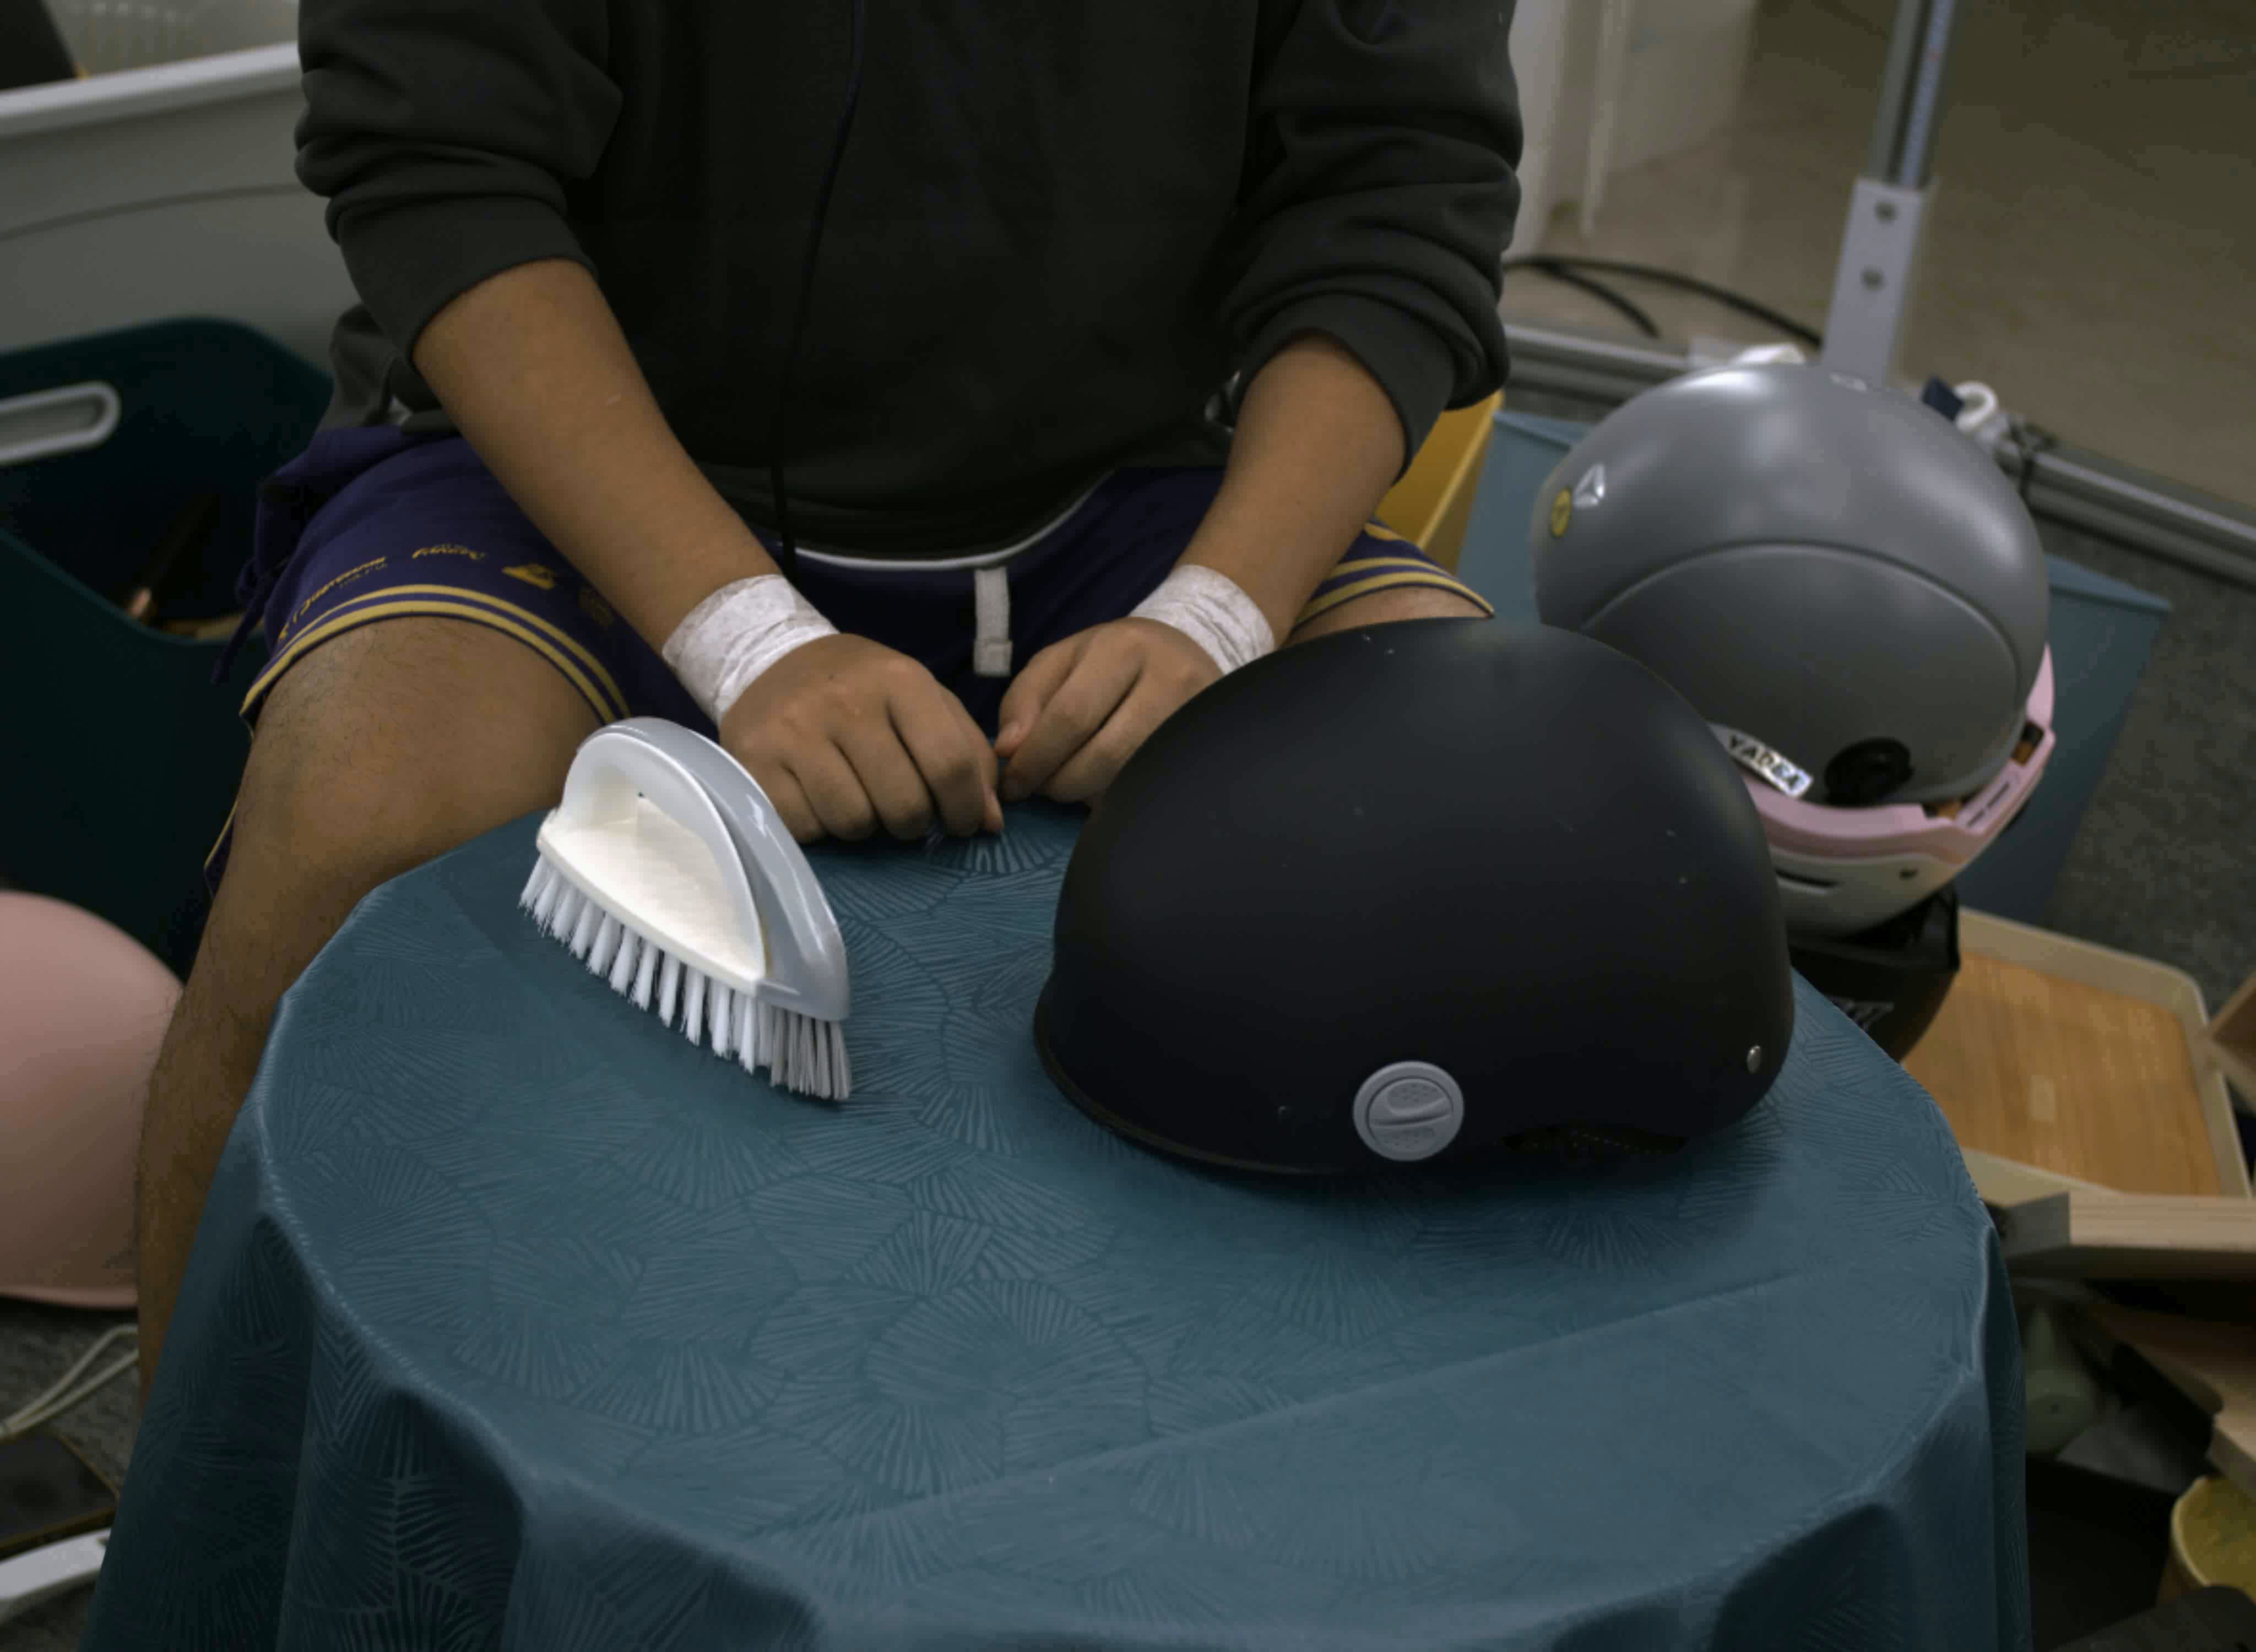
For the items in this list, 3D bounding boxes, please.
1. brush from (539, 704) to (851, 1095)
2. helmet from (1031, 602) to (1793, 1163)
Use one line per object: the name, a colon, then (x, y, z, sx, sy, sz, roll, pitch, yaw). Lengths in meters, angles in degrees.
brush: (-0.144, 0.019, 1.875, 0.061, 0.094, 0.177, -14, 35, -33)
helmet: (0.105, 0.009, 1.874, 0.271, 0.166, 0.232, -3, 27, -13)
